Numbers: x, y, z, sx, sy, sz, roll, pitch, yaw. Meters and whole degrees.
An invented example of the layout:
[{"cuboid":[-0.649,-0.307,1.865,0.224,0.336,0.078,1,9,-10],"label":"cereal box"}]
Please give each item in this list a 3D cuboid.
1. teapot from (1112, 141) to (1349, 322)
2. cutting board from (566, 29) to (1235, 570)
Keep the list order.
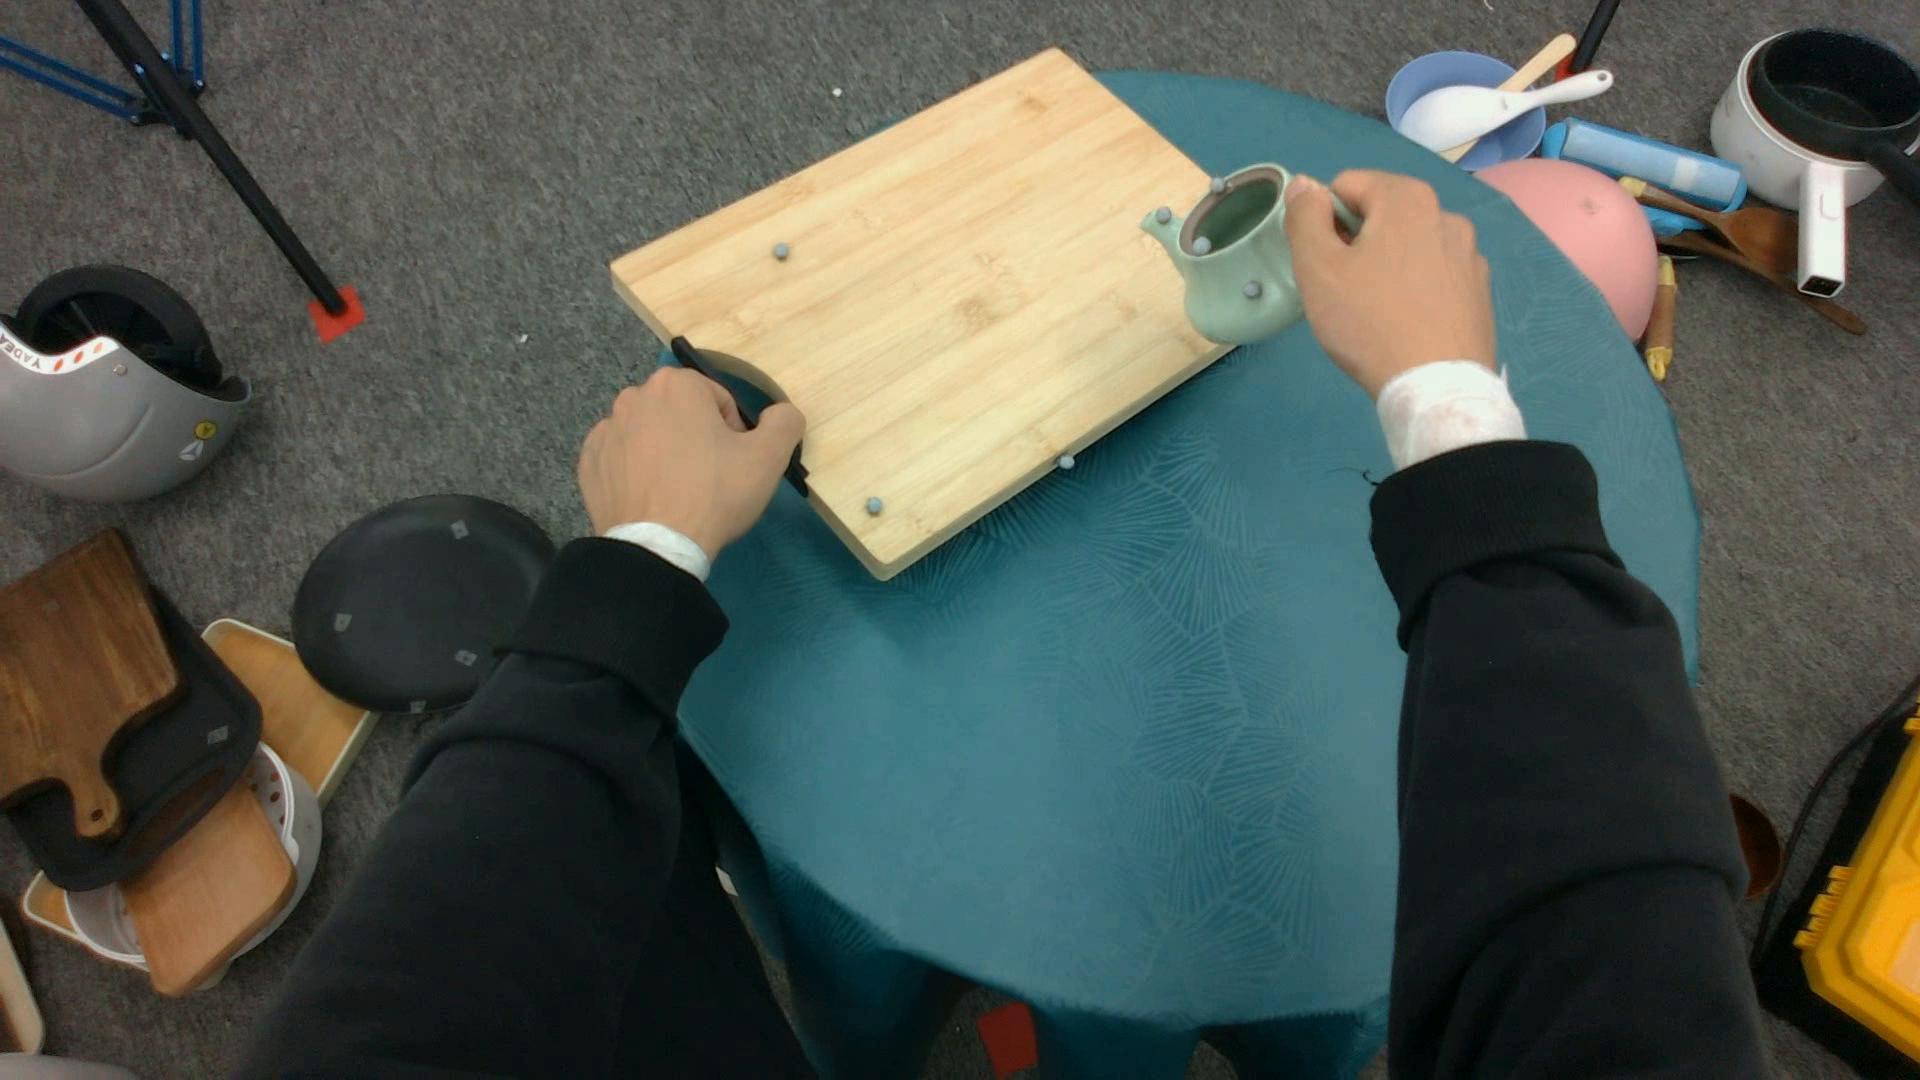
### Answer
[{"cuboid":[0.138,-0.156,0.680,0.061,0.136,0.096,42,71,-31],"label":"teapot"},{"cuboid":[-0.007,-0.158,0.791,0.350,0.023,0.251,-36,70,-26],"label":"cutting board"}]
